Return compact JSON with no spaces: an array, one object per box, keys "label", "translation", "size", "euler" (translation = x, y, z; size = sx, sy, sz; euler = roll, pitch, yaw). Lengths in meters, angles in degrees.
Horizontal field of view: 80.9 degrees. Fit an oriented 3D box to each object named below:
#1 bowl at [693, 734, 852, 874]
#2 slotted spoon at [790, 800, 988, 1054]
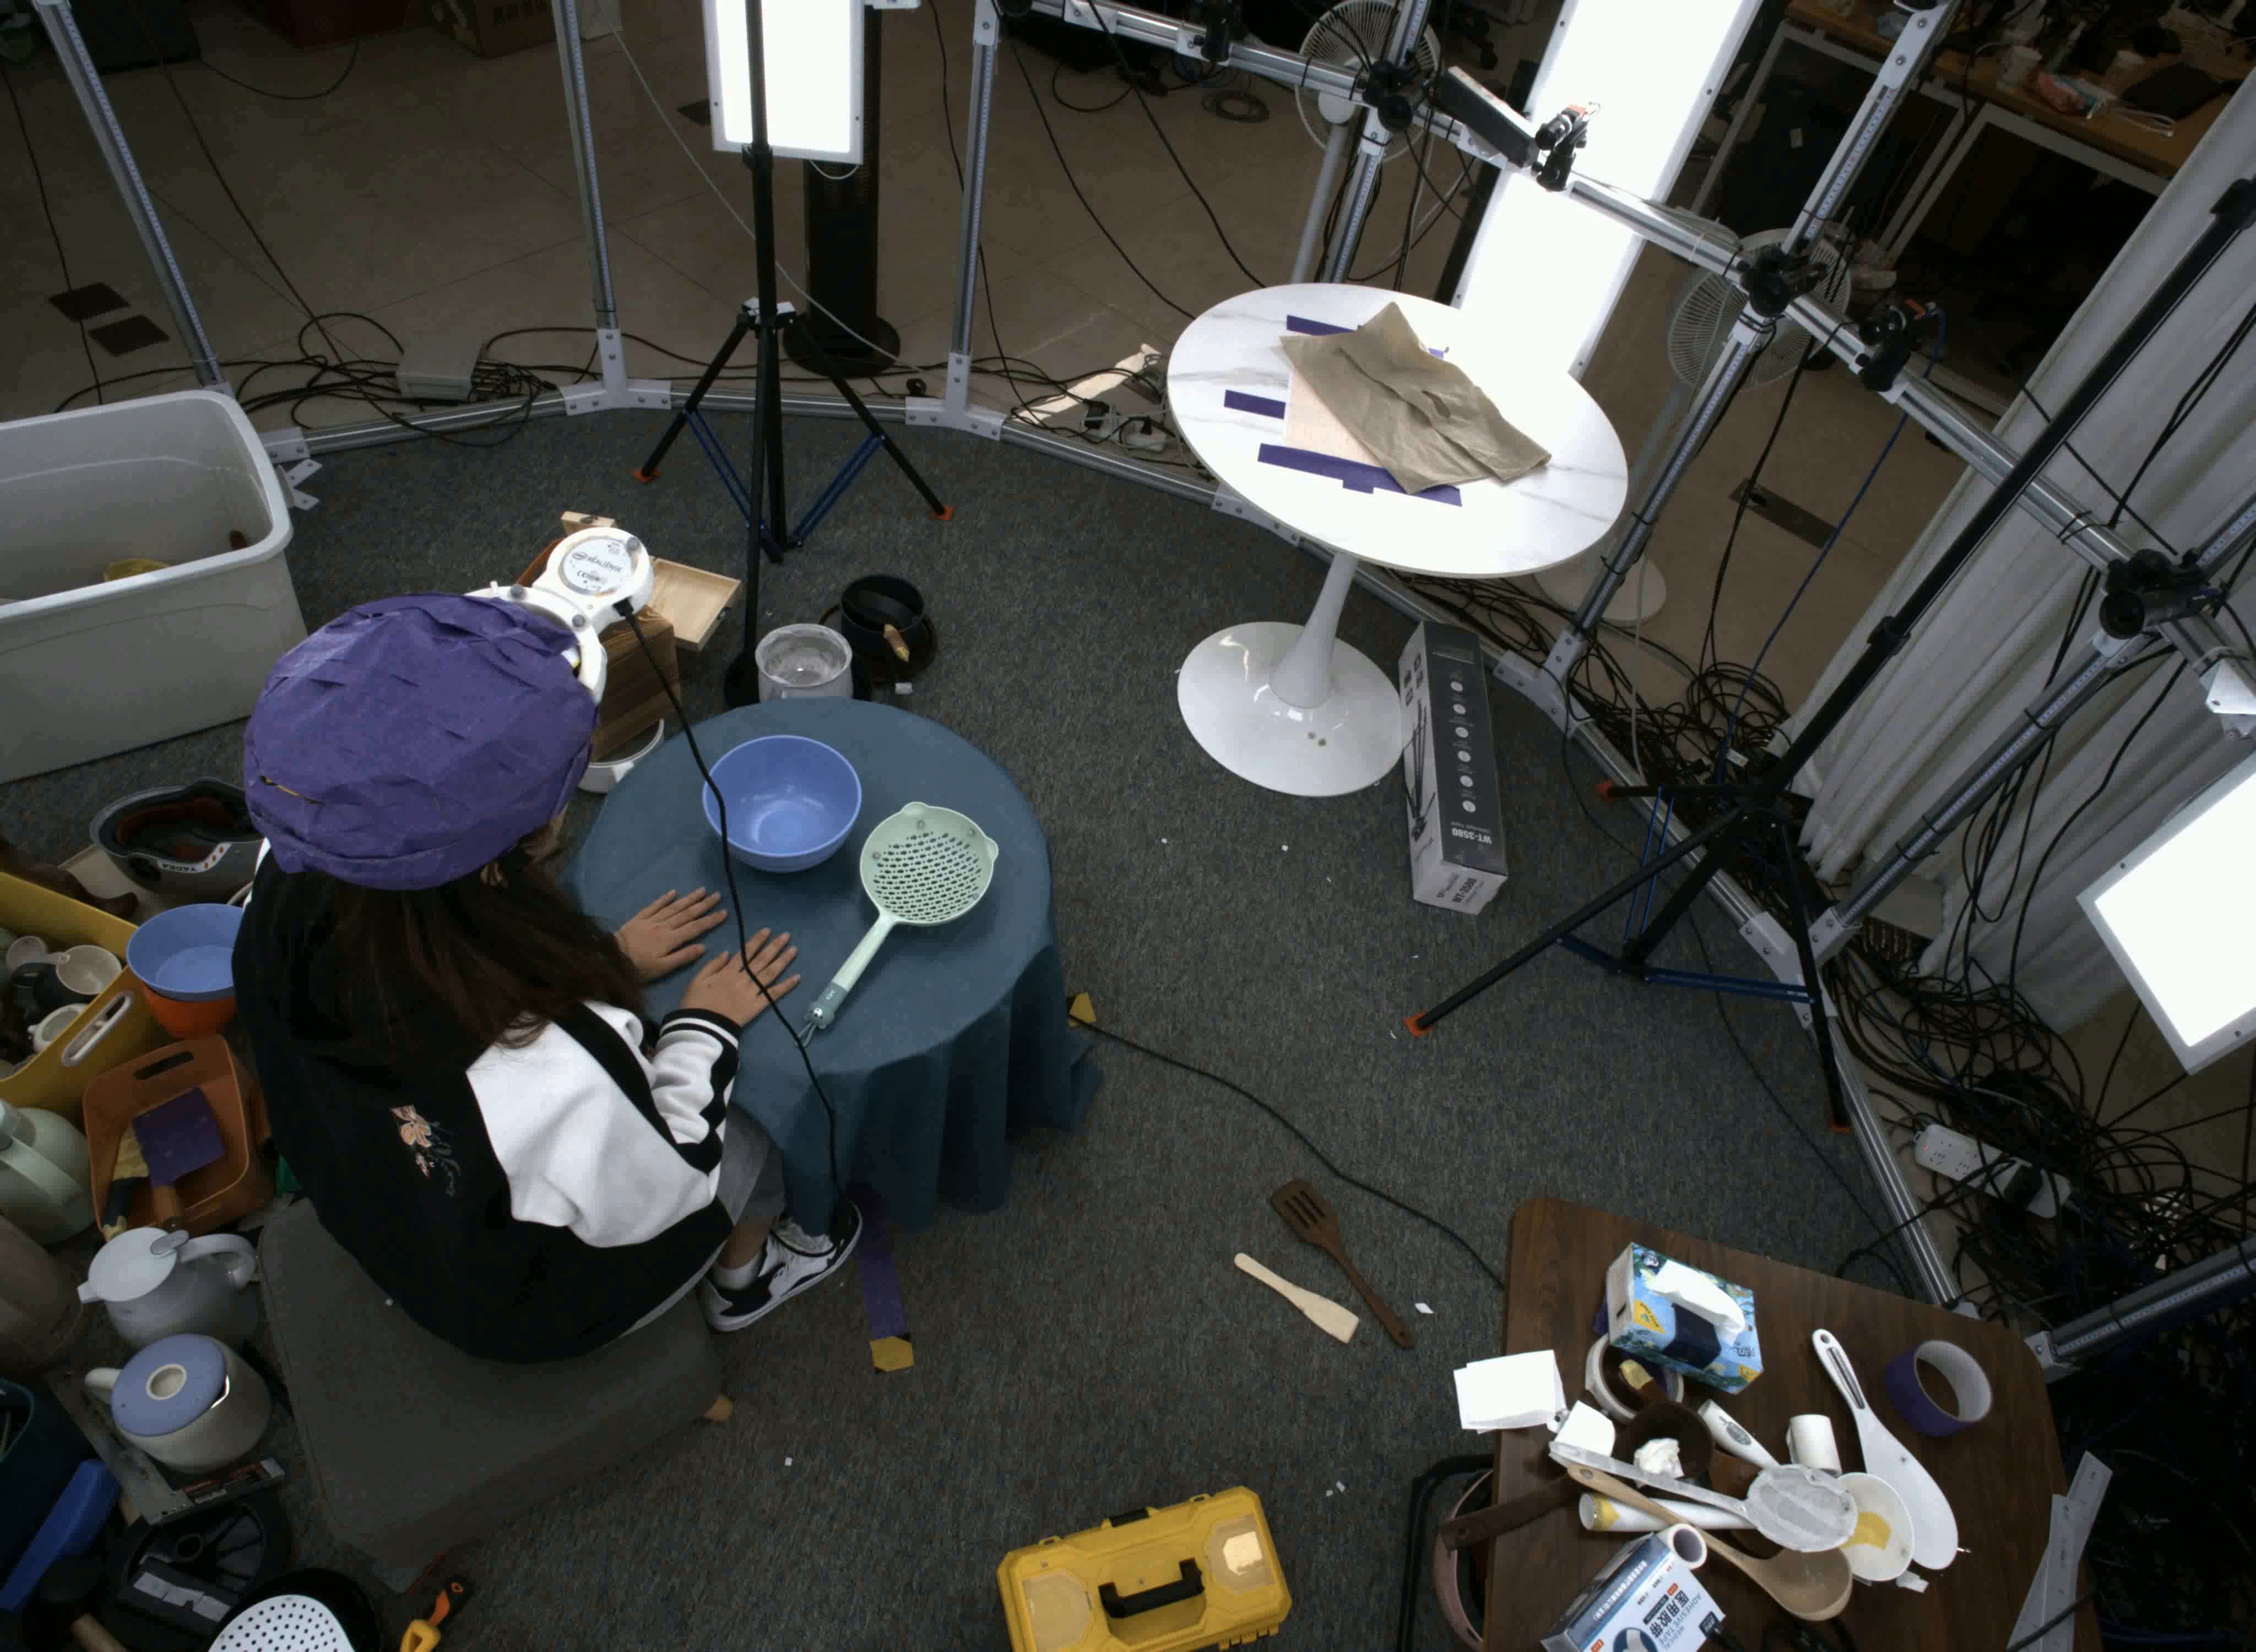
[{"label":"bowl","translation":[-0.453,-0.013,1.659],"size":[0.196,0.097,0.193],"euler":[8,52,-9]},{"label":"slotted spoon","translation":[-0.313,0.125,1.618],"size":[0.166,0.077,0.357],"euler":[27,54,8]}]
